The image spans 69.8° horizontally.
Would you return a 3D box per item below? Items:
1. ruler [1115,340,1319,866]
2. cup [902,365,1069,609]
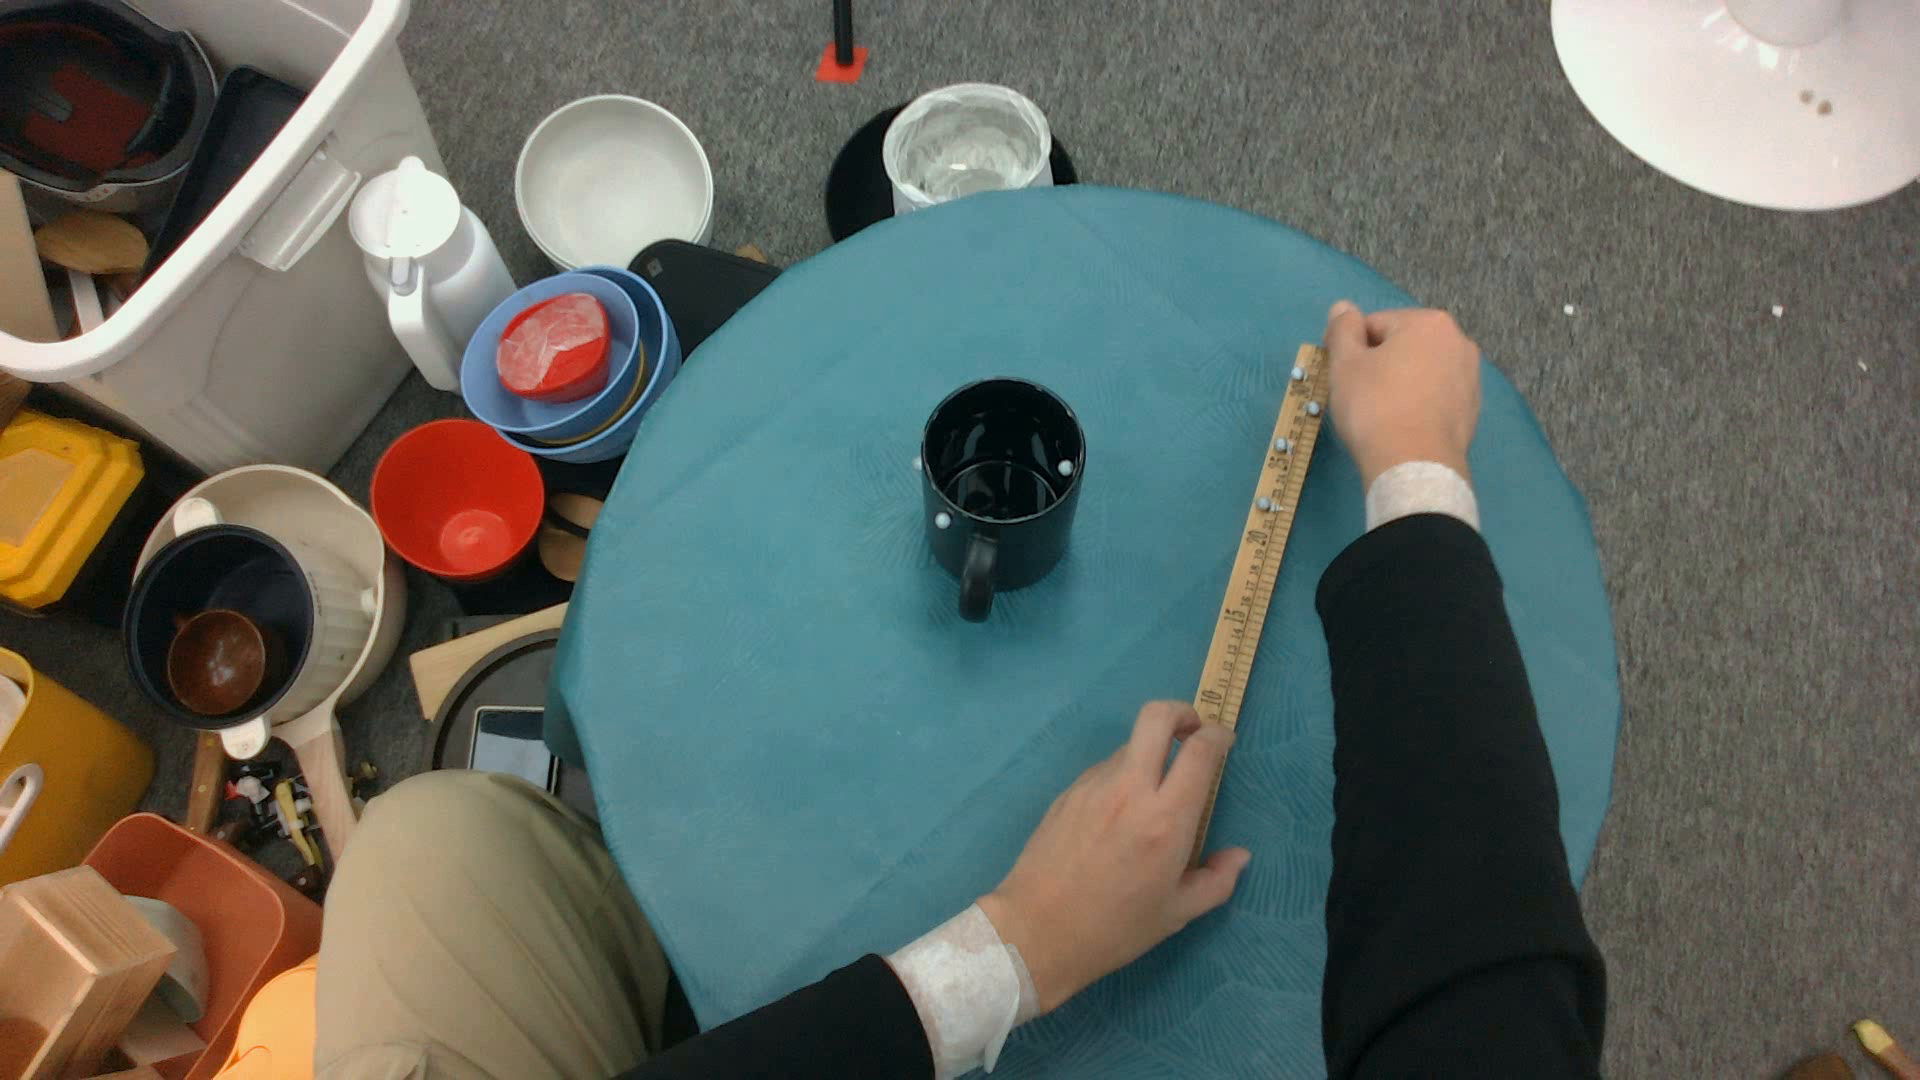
[{"bbox_3d":[0.150,0.022,0.779,0.027,0.022,0.333,15,68,19],"label":"ruler"},{"bbox_3d":[0.008,-0.021,0.767,0.088,0.105,0.124,14,68,3],"label":"cup"}]
